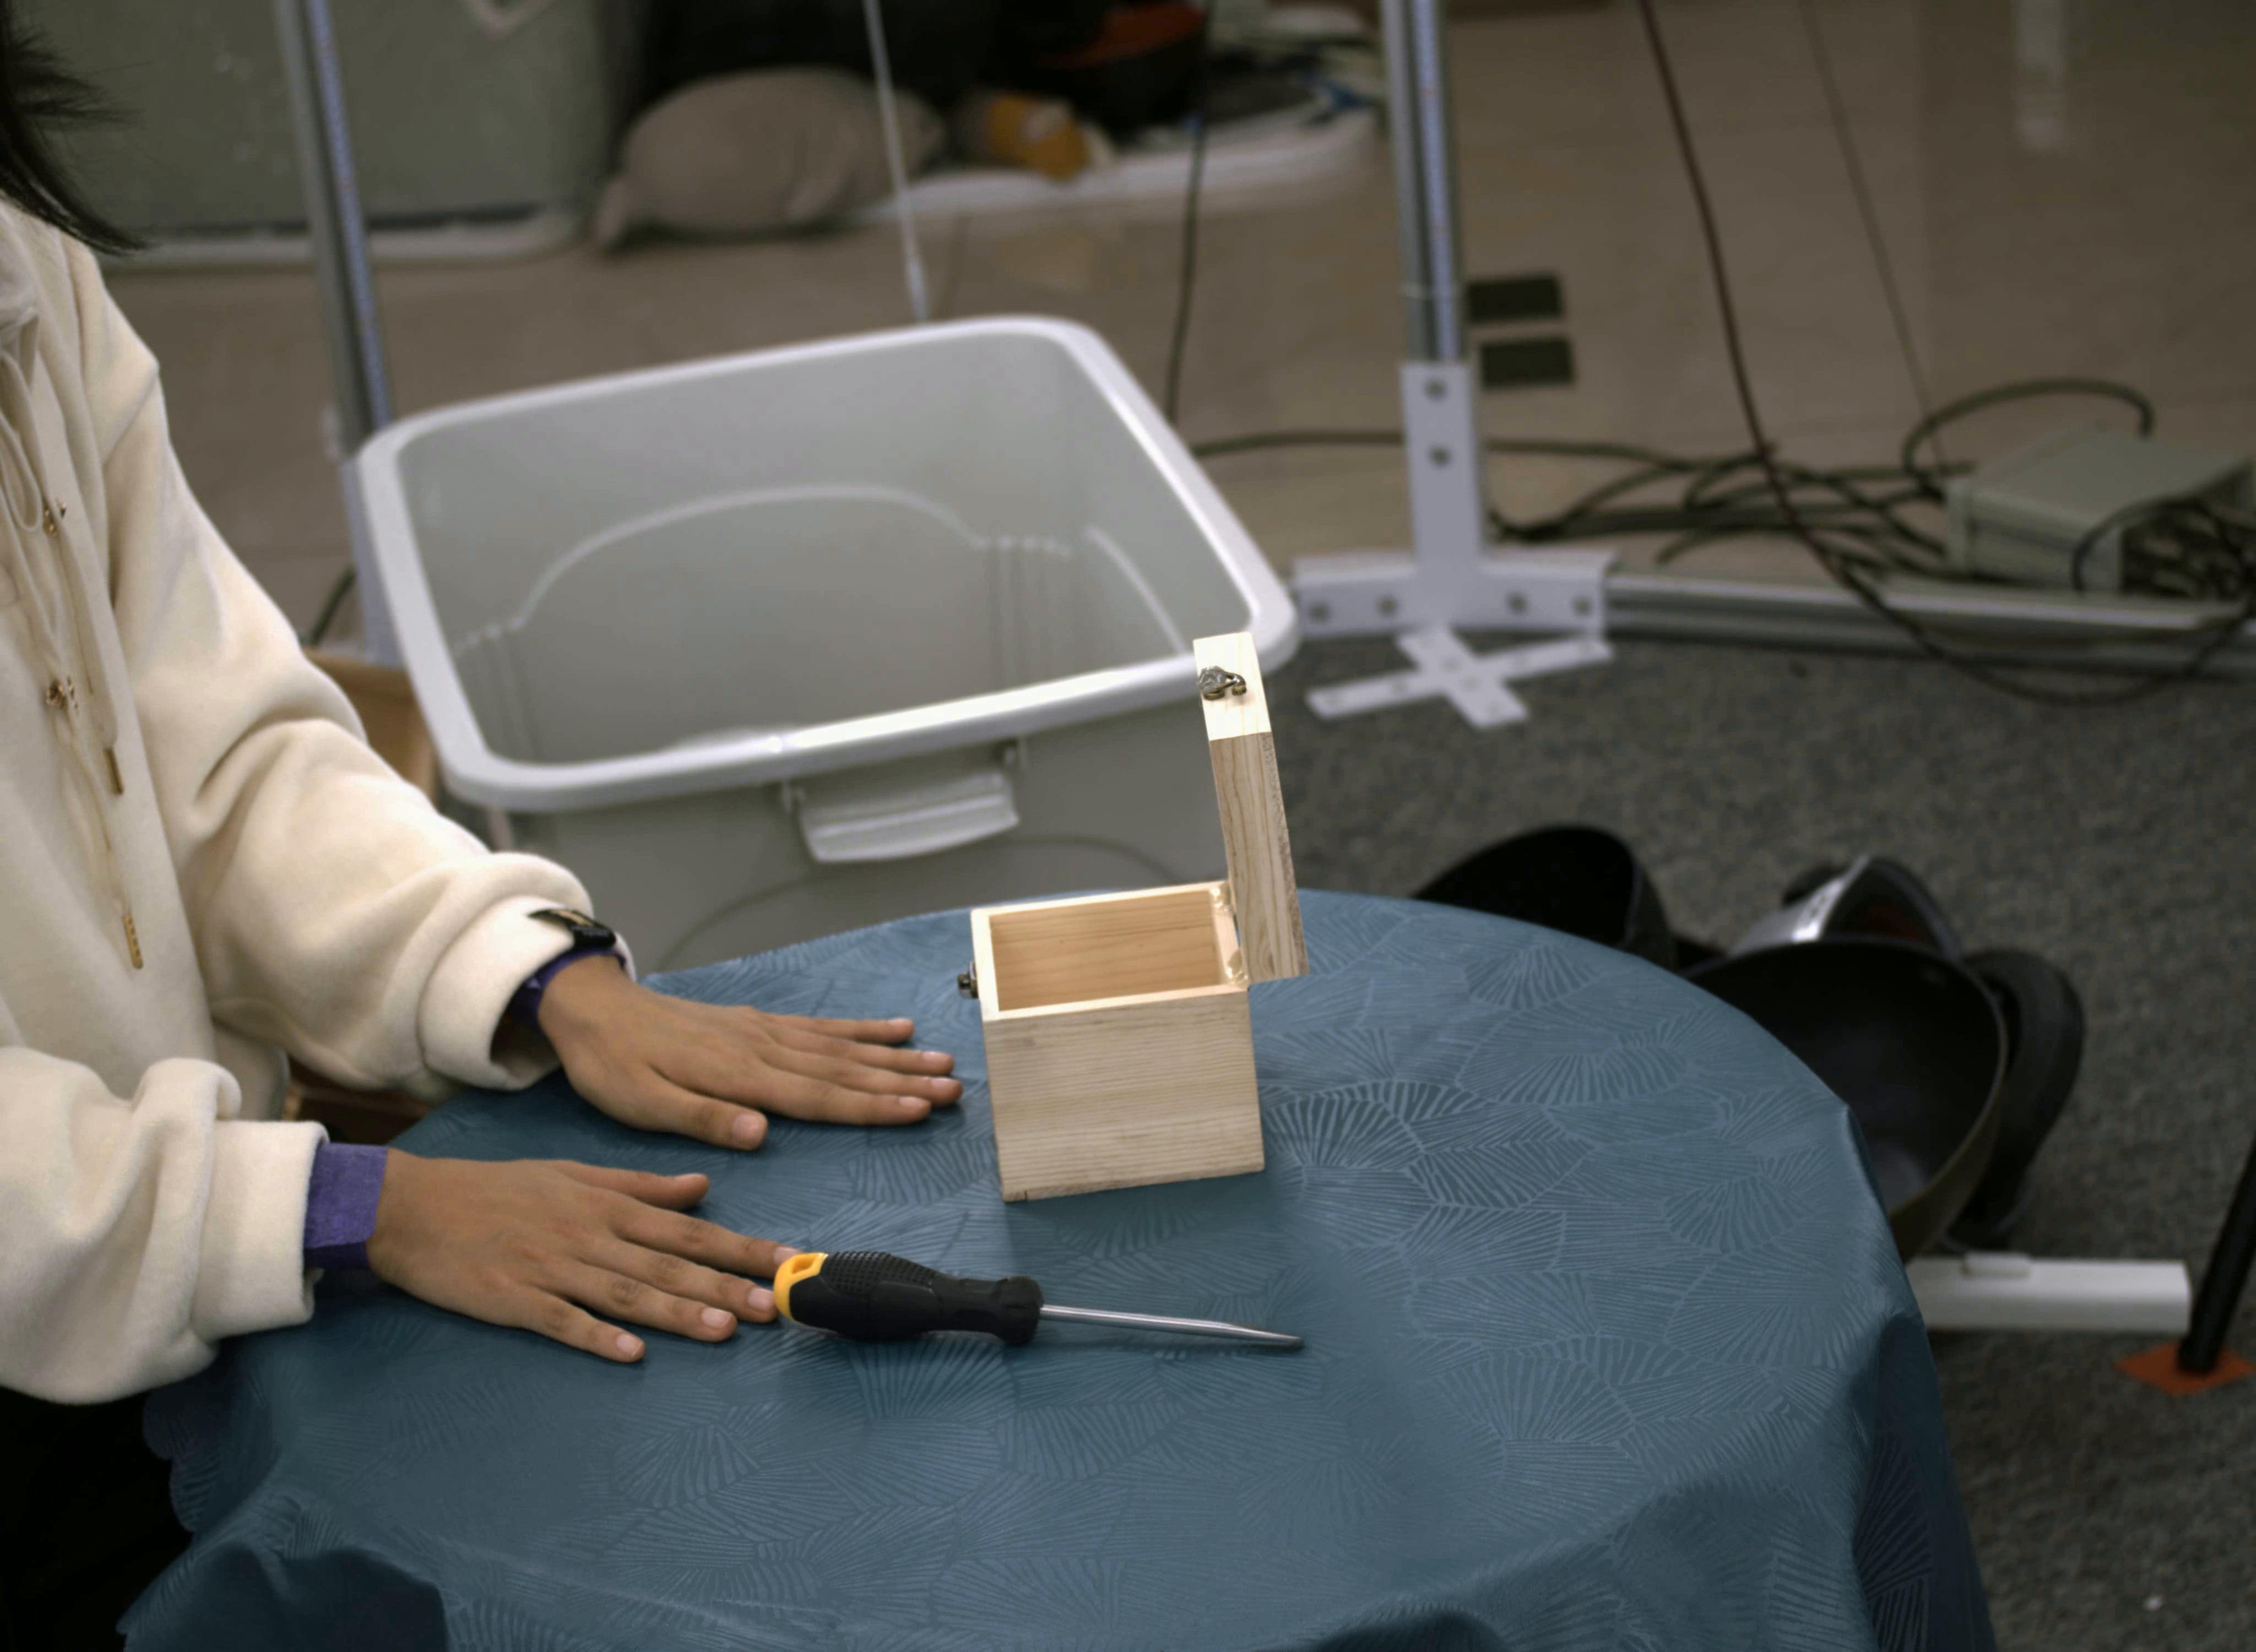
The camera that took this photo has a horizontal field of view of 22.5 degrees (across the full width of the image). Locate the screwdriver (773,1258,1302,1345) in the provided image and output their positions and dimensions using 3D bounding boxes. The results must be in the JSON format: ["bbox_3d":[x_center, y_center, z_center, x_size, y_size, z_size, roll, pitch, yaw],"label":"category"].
[{"bbox_3d":[-0.034,0.178,2.048,0.197,0.032,0.031,5,27,17],"label":"screwdriver"}]

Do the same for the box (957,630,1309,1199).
[{"bbox_3d":[-0.001,0.032,2.157,0.133,0.187,0.101,-7,26,-2],"label":"box"}]
